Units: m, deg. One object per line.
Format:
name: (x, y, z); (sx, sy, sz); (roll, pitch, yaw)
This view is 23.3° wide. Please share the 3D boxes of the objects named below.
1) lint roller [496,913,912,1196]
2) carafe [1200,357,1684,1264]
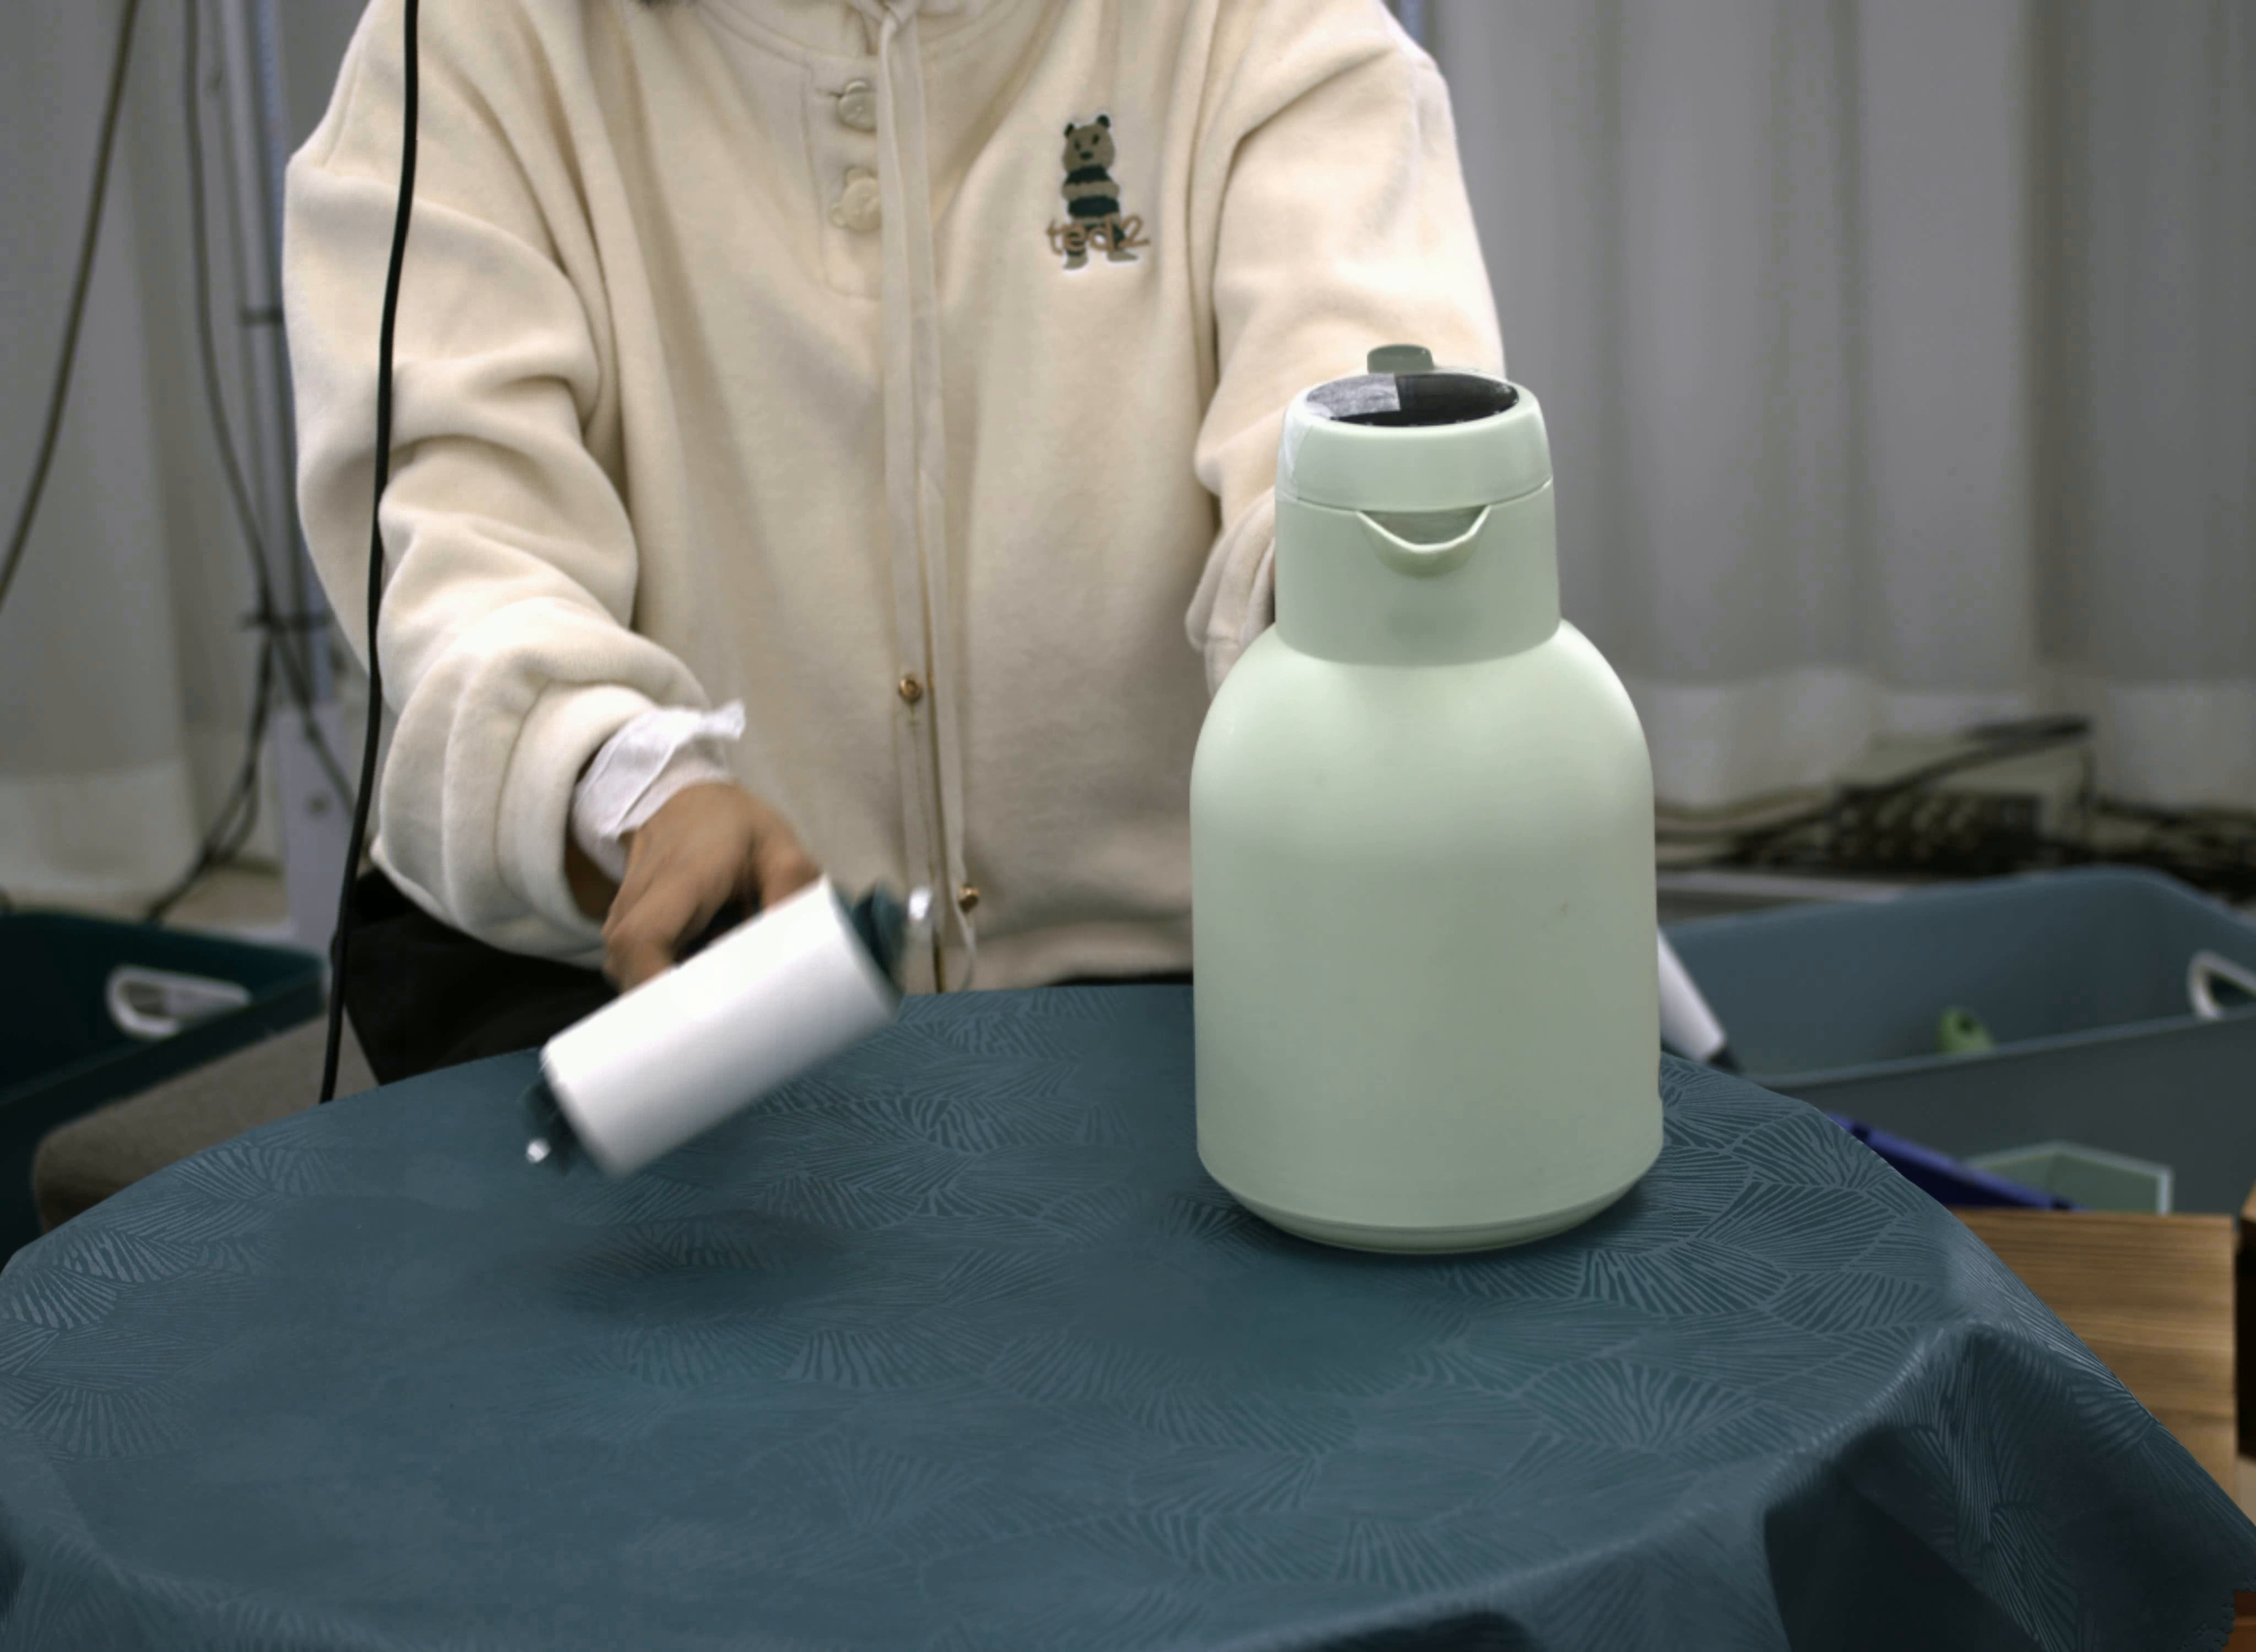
lint roller: (-0.135, 0.048, 1.715); (0.134, 0.048, 0.182); (-27, 20, 2)
carafe: (0.091, -0.010, 1.673); (0.144, 0.256, 0.188); (-4, 13, 0)
